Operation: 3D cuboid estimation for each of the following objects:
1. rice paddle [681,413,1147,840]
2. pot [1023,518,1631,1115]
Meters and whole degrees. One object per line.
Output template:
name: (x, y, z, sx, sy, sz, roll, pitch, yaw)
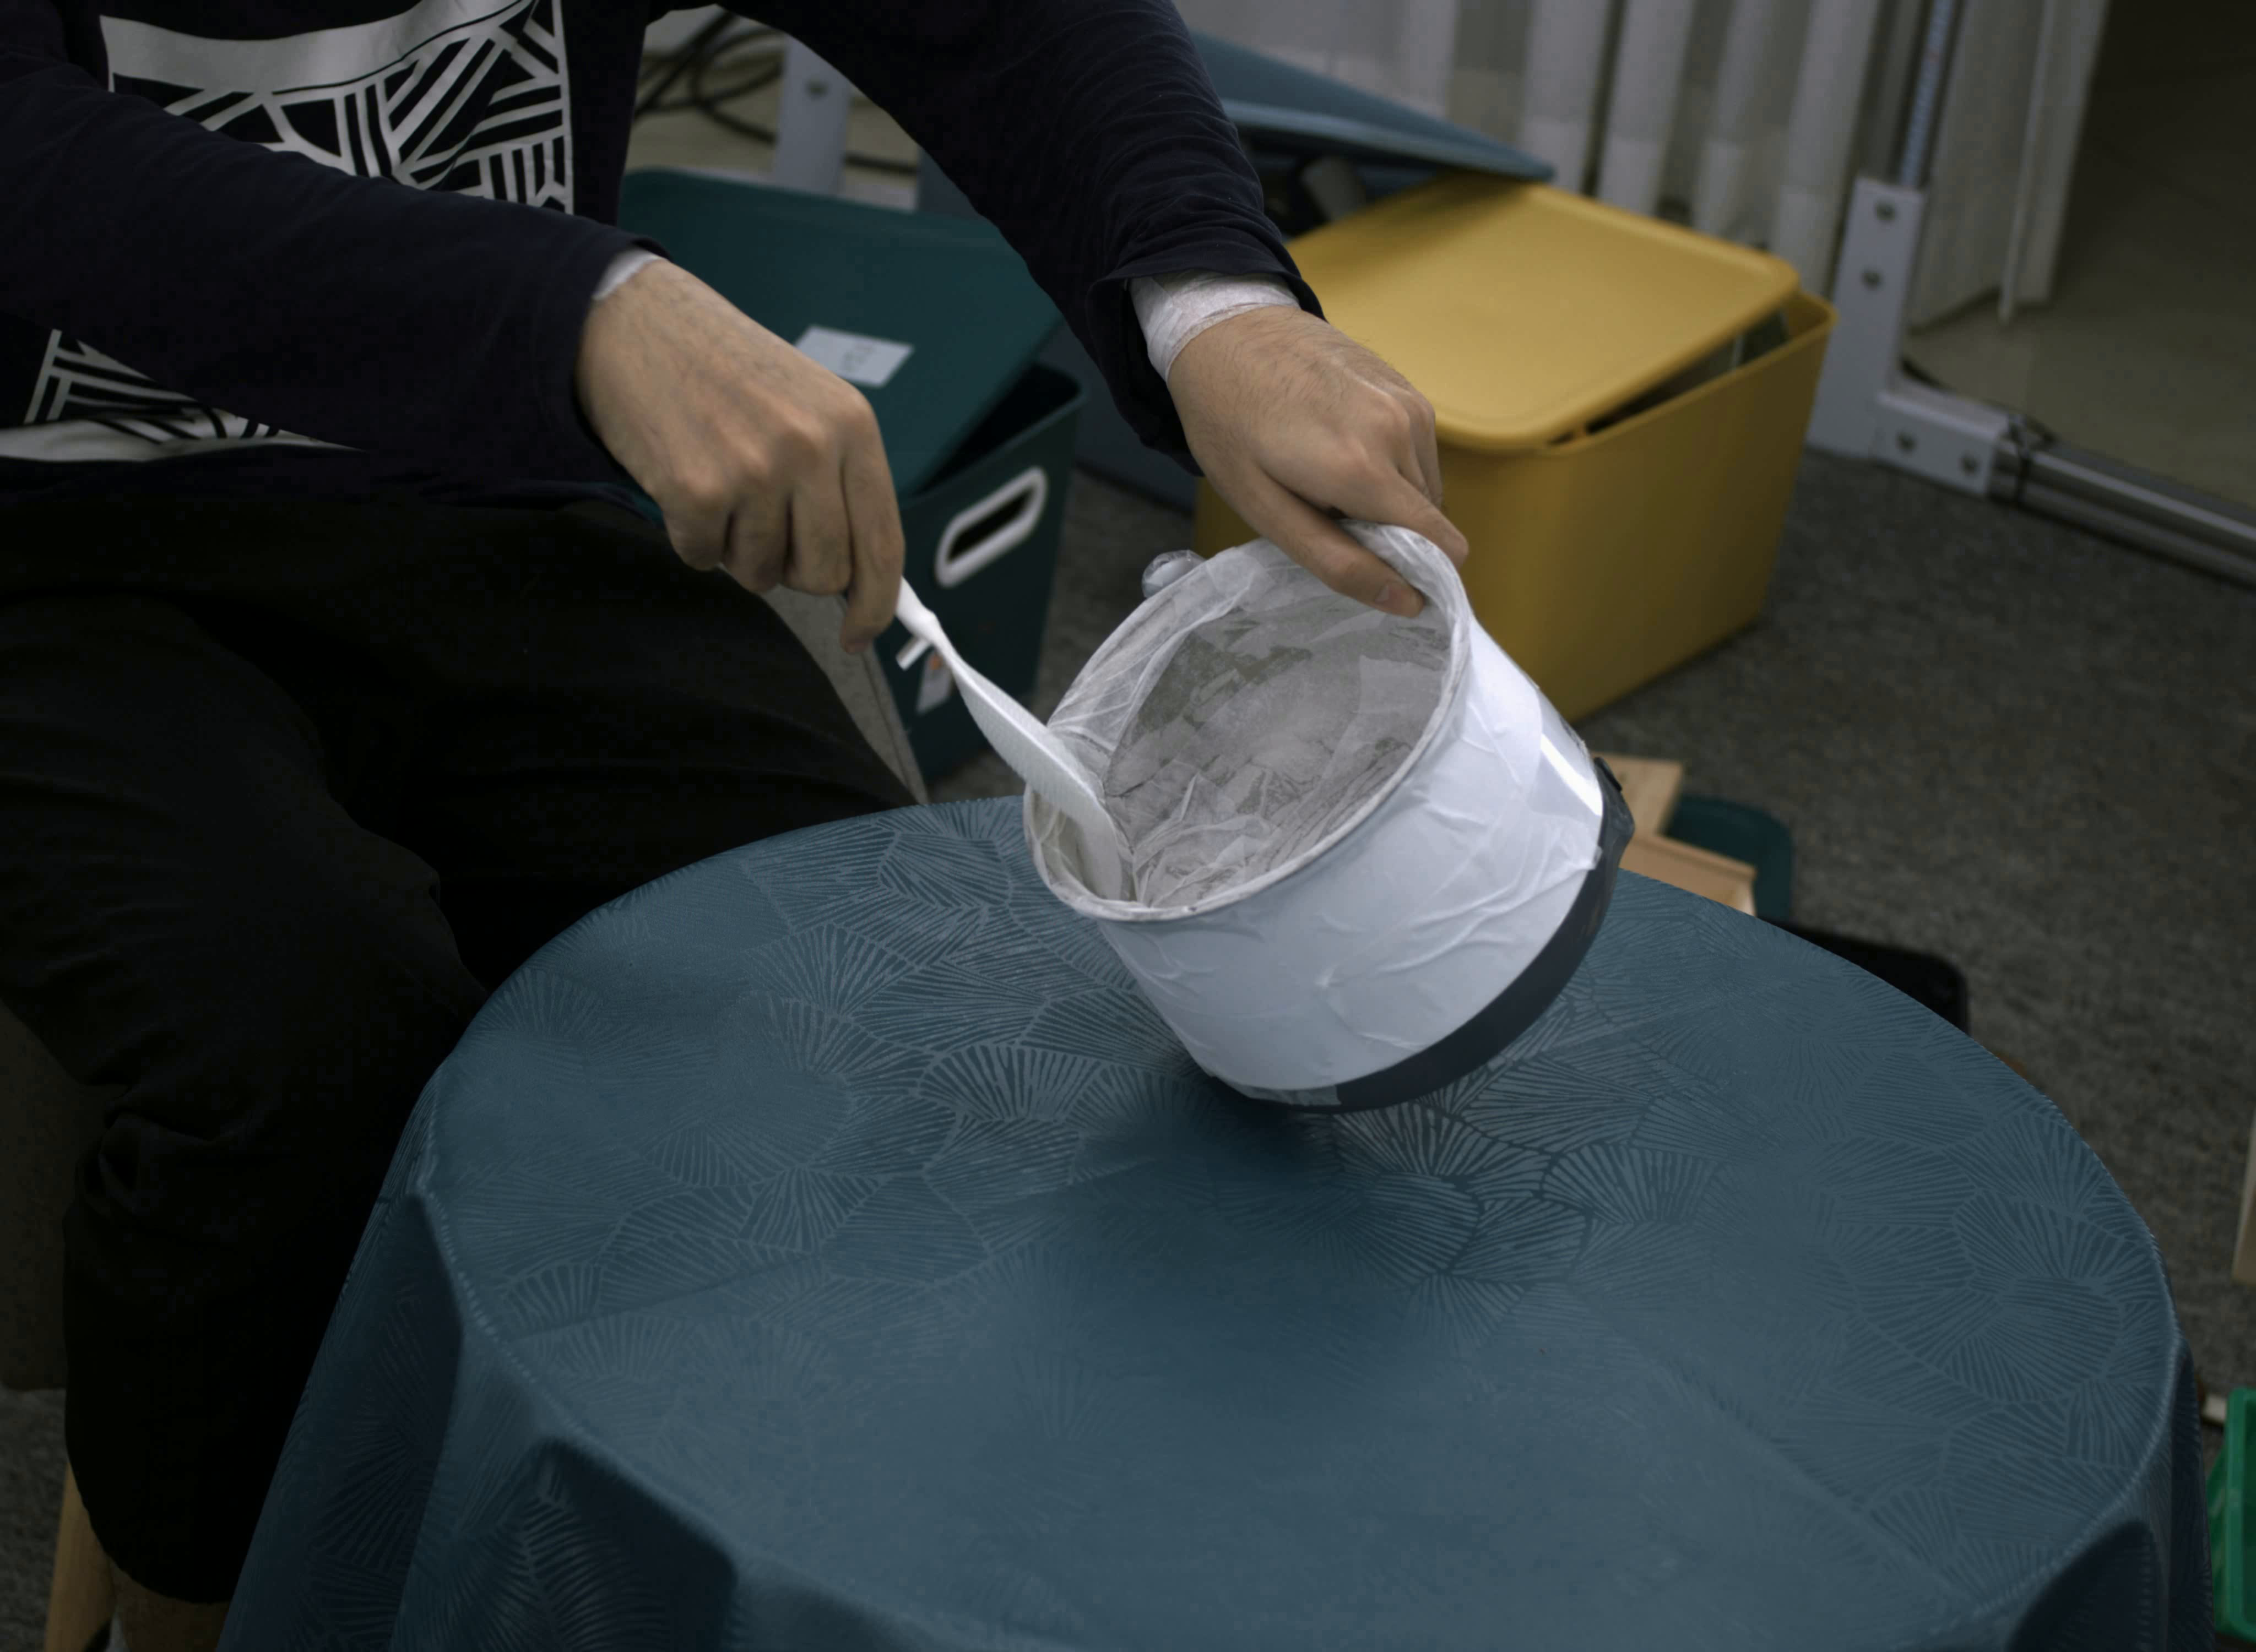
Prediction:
rice paddle: (-0.066, -0.063, 1.804, 0.204, 0.029, 0.069, 41, 5, -16)
pot: (0.063, -0.014, 1.872, 0.178, 0.135, 0.236, -34, 37, 4)
